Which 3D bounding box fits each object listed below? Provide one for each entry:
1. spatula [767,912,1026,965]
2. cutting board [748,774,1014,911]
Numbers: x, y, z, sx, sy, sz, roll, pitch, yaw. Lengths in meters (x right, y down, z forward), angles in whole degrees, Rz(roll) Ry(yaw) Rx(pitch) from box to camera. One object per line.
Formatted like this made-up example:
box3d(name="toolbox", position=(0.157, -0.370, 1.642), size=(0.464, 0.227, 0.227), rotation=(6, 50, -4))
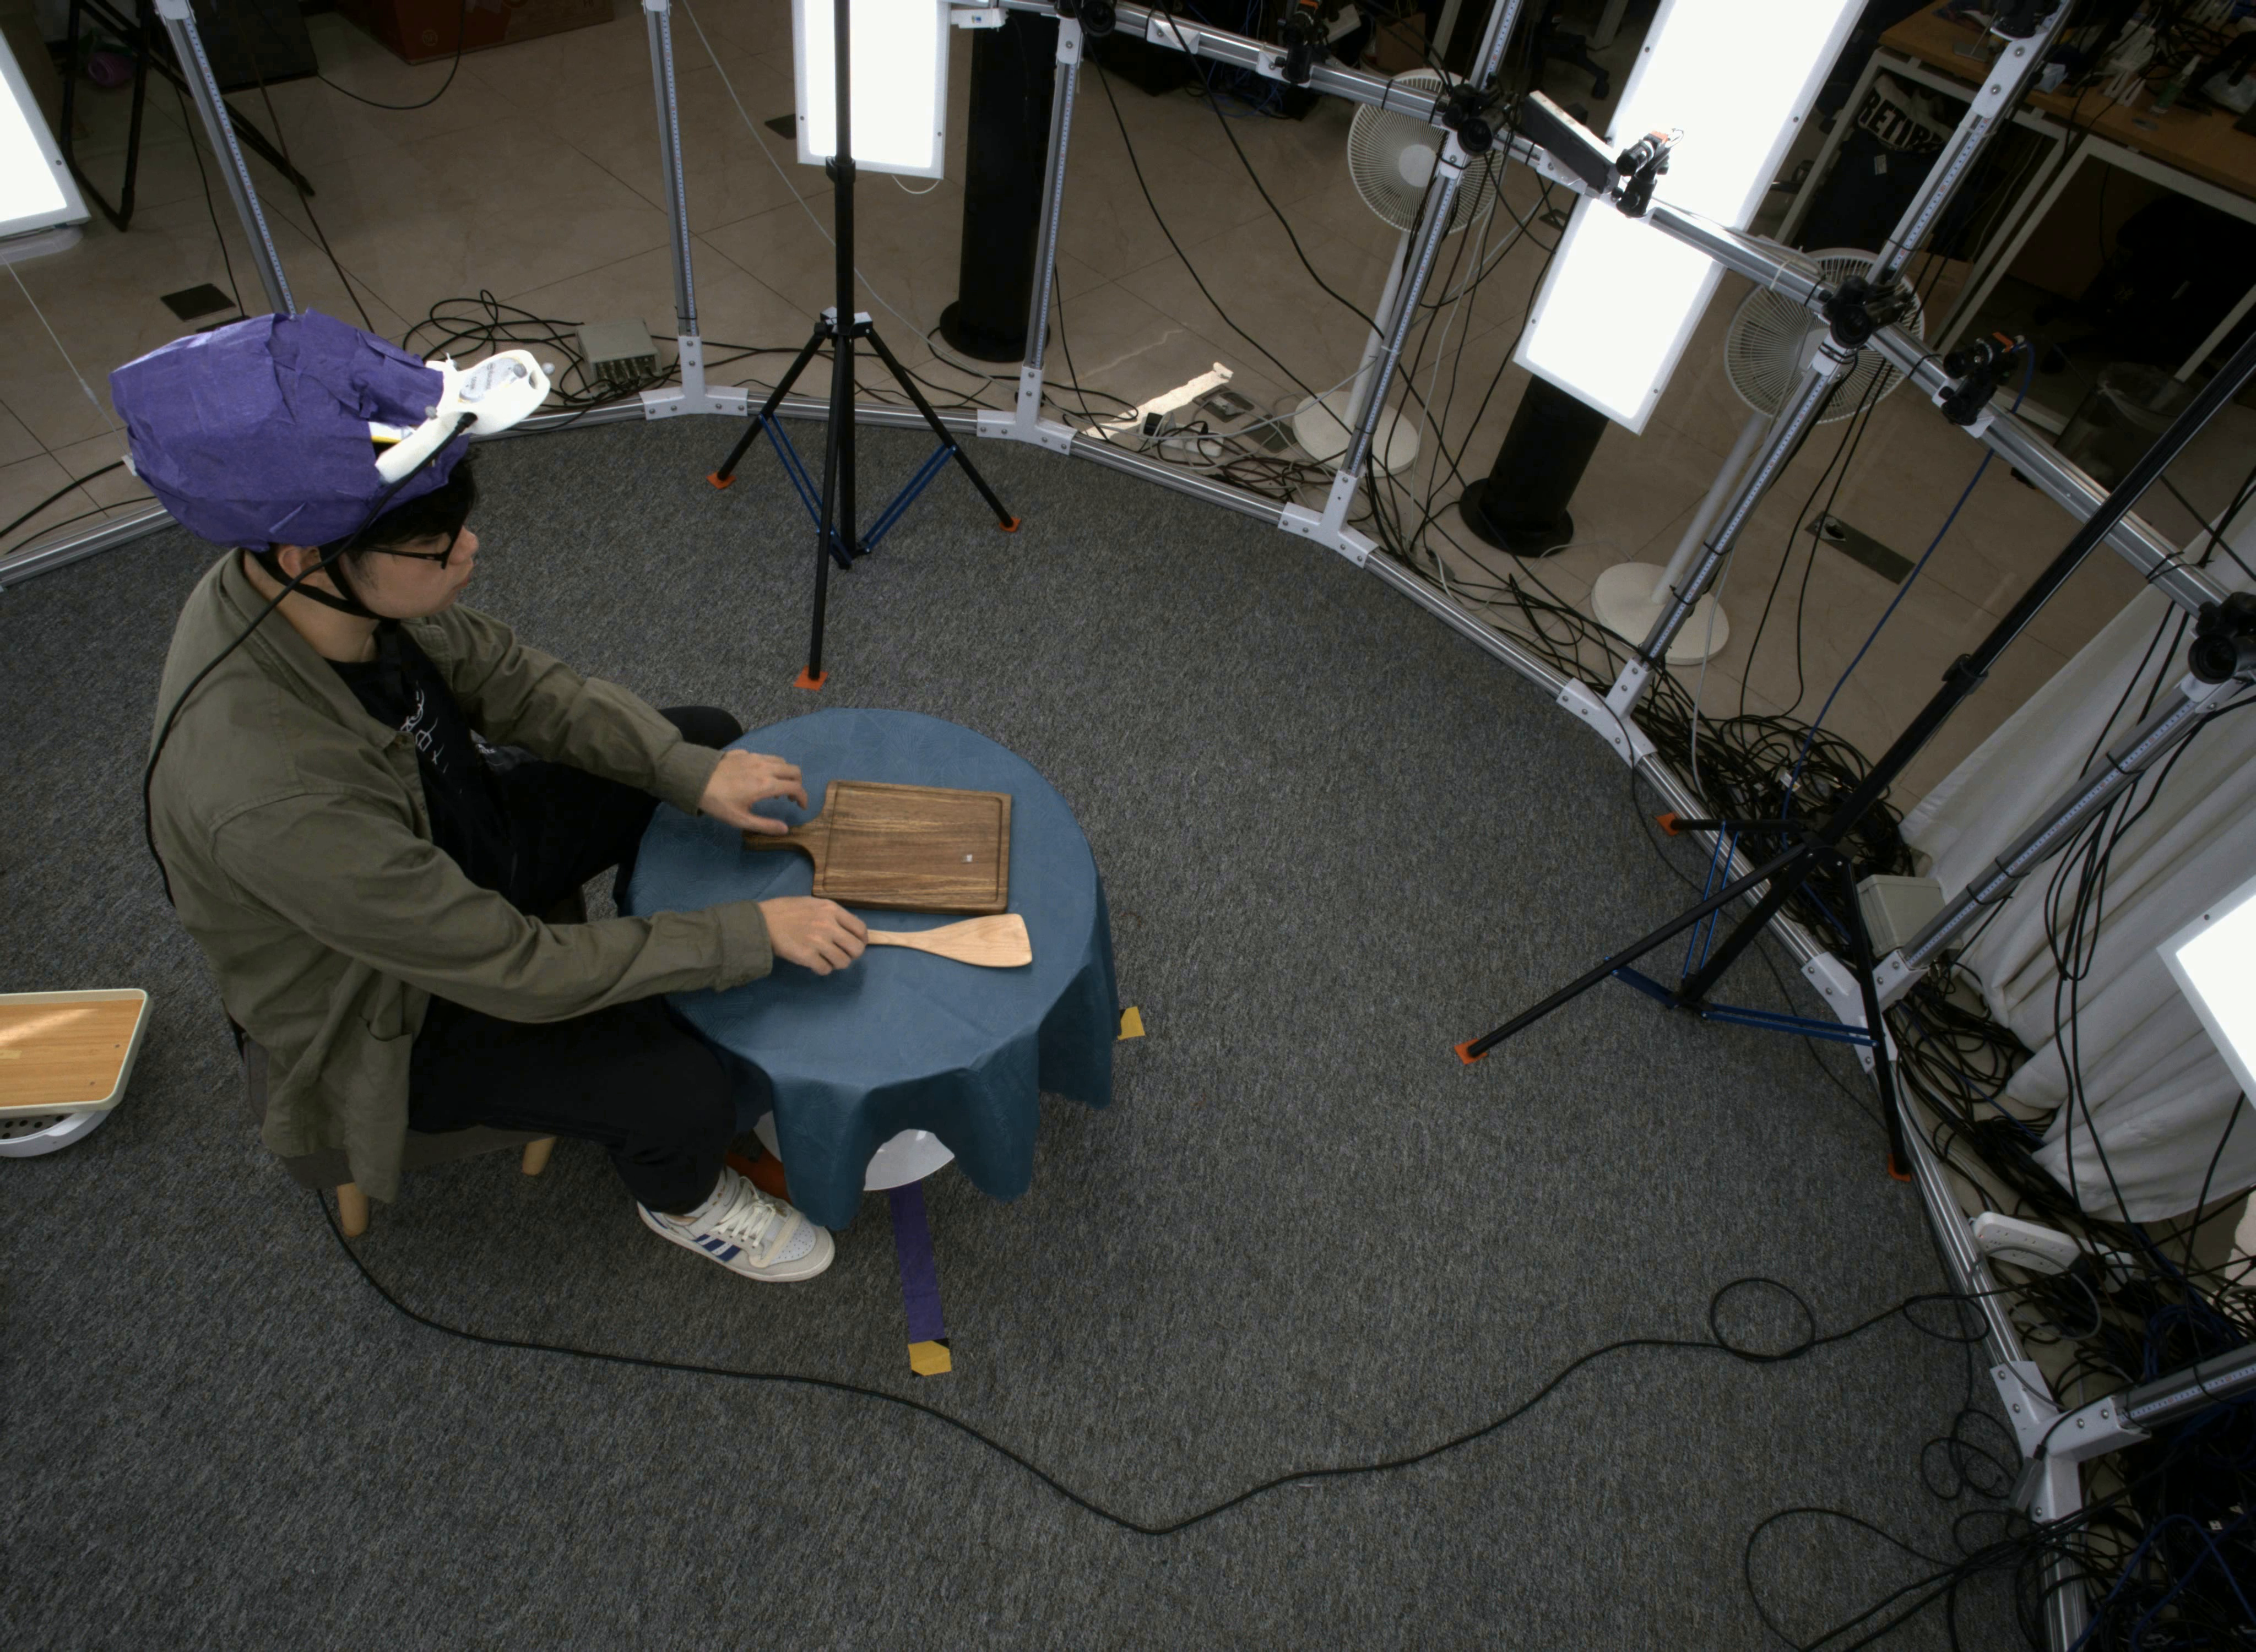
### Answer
box3d(name="spatula", position=(-0.293, 0.139, 1.659), size=(0.327, 0.017, 0.078), rotation=(2, 53, -12))
box3d(name="cutting board", position=(-0.329, 0.015, 1.739), size=(0.351, 0.023, 0.197), rotation=(6, 53, -9))
